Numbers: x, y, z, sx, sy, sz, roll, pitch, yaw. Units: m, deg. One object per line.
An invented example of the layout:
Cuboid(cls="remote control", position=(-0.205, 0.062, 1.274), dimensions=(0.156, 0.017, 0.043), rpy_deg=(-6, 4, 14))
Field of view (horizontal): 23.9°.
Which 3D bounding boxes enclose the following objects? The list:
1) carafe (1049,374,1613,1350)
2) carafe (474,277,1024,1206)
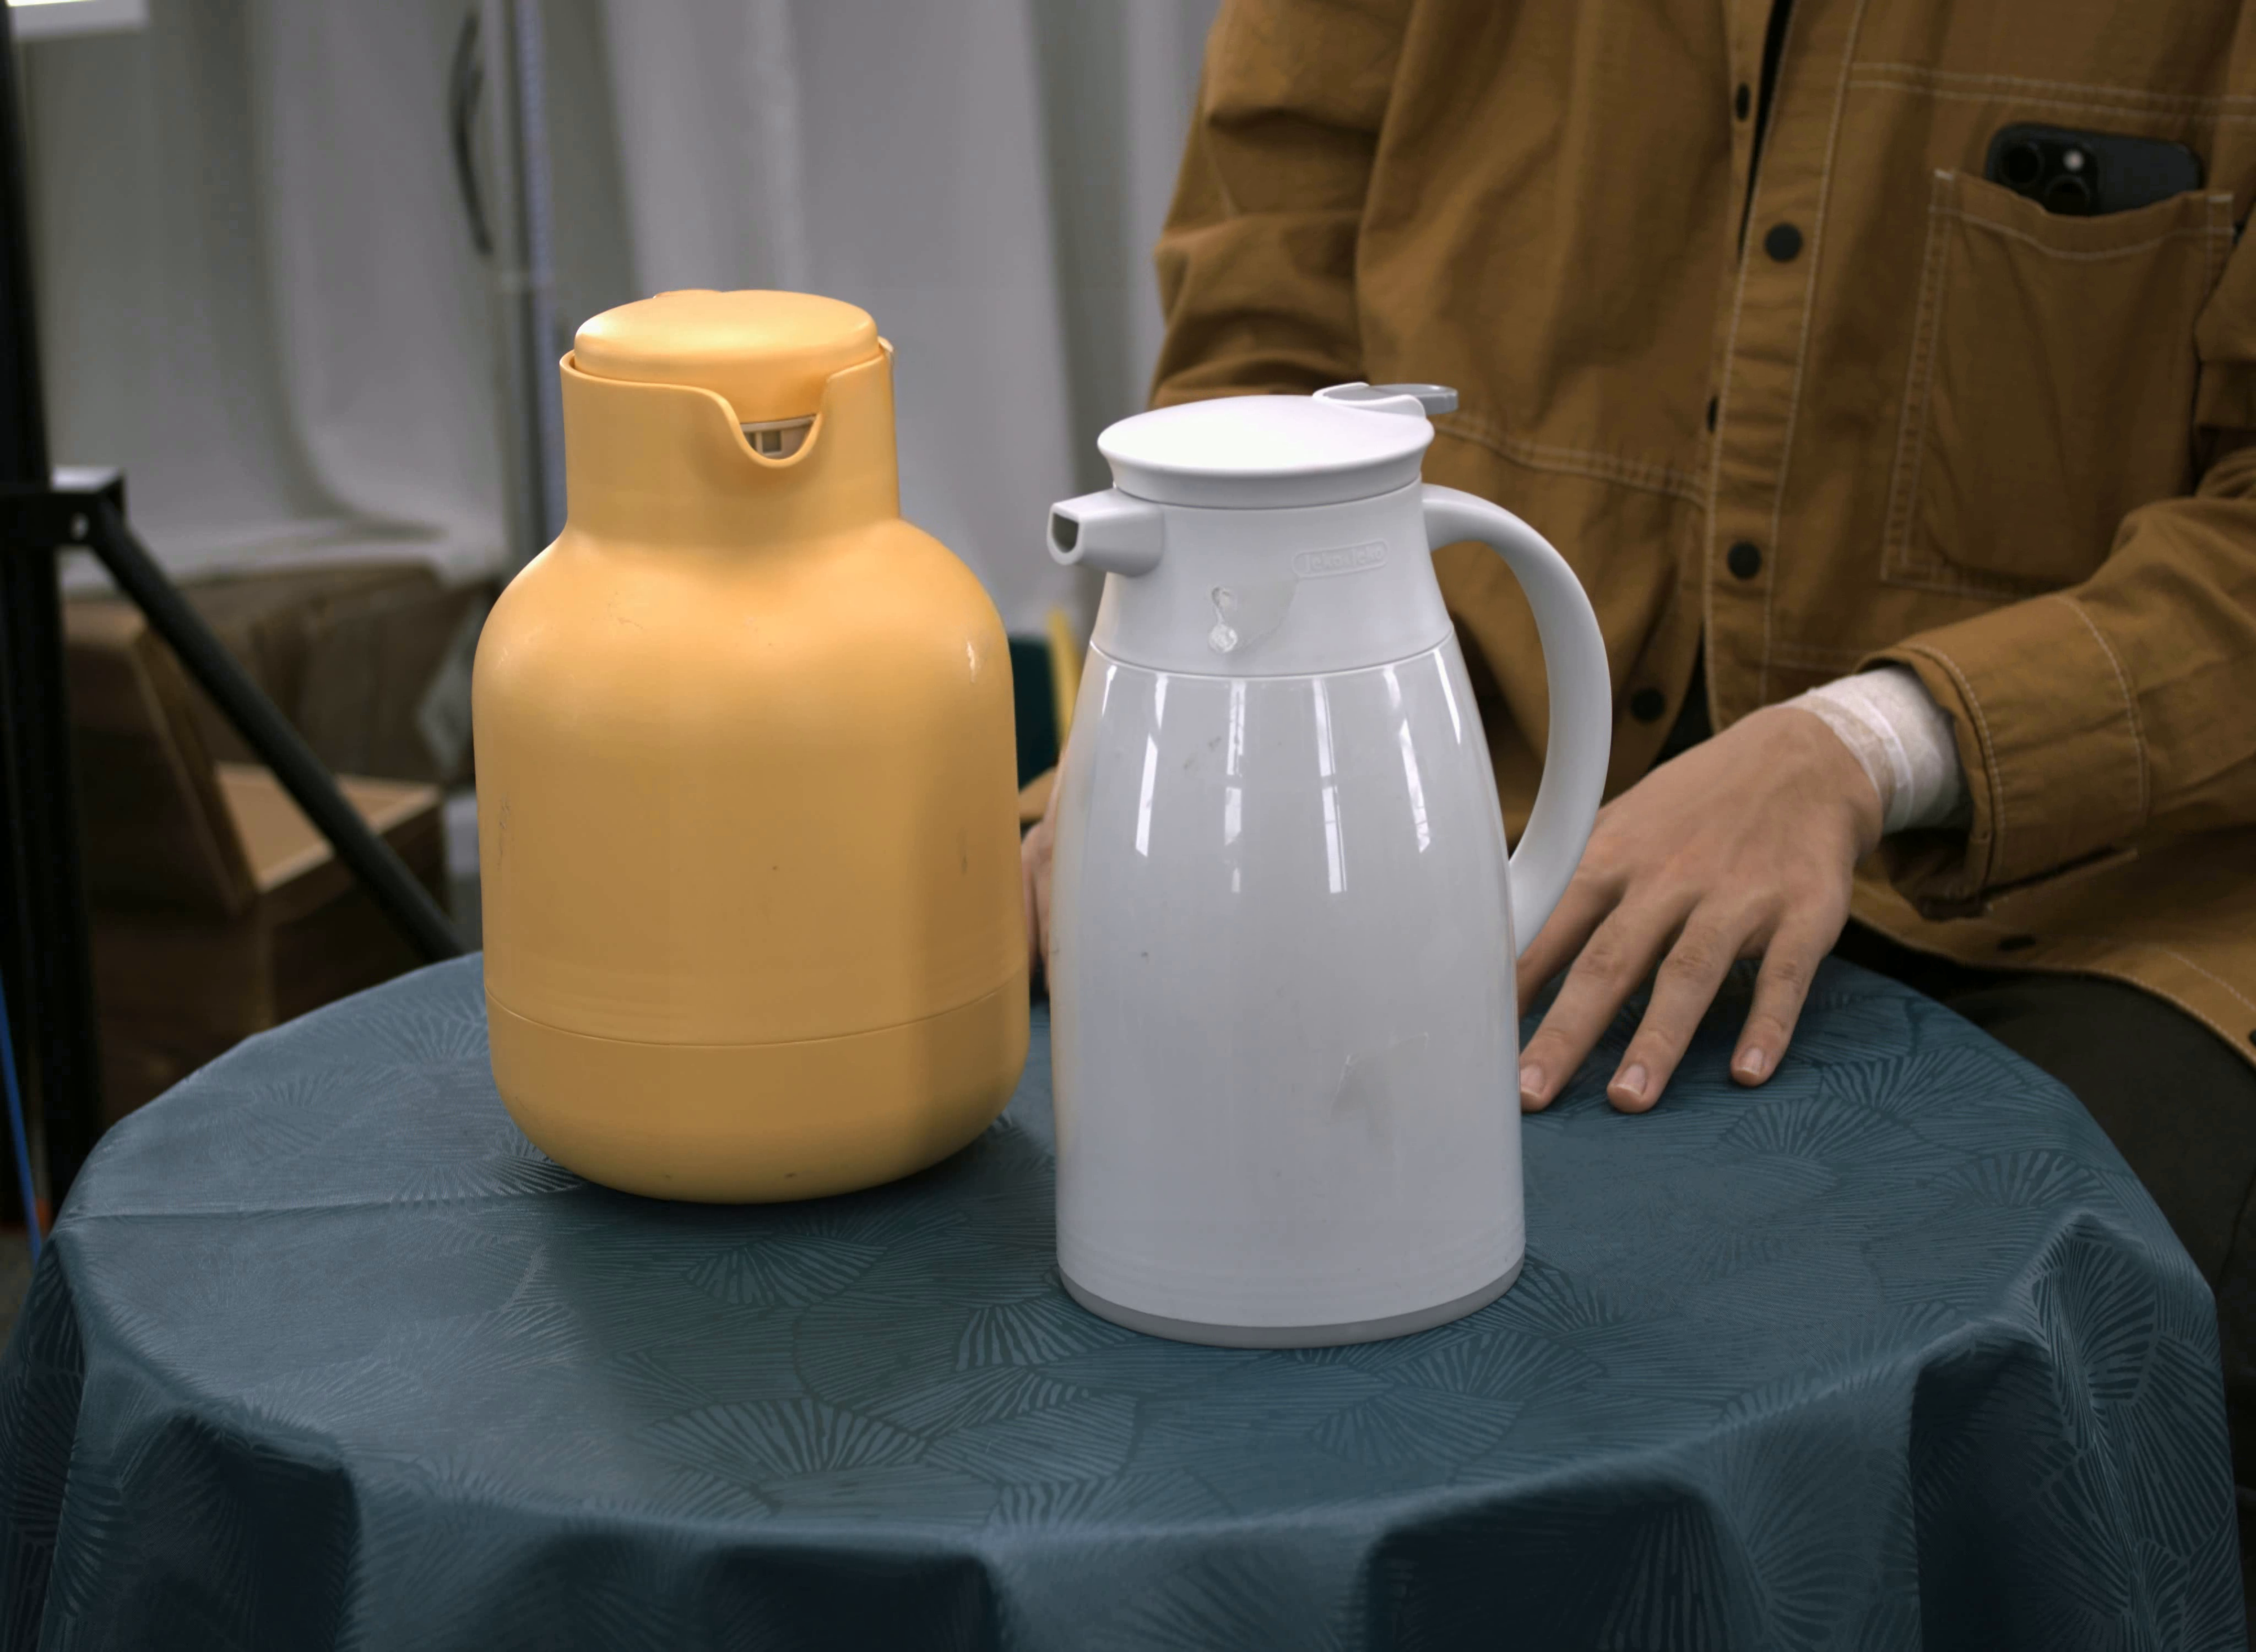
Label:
Cuboid(cls="carafe", position=(0.058, 0.002, 1.467), dimensions=(0.164, 0.248, 0.135), rpy_deg=(-9, 16, -25))
Cuboid(cls="carafe", position=(-0.116, -0.033, 1.598), dimensions=(0.161, 0.260, 0.205), rpy_deg=(-3, 16, -12))
